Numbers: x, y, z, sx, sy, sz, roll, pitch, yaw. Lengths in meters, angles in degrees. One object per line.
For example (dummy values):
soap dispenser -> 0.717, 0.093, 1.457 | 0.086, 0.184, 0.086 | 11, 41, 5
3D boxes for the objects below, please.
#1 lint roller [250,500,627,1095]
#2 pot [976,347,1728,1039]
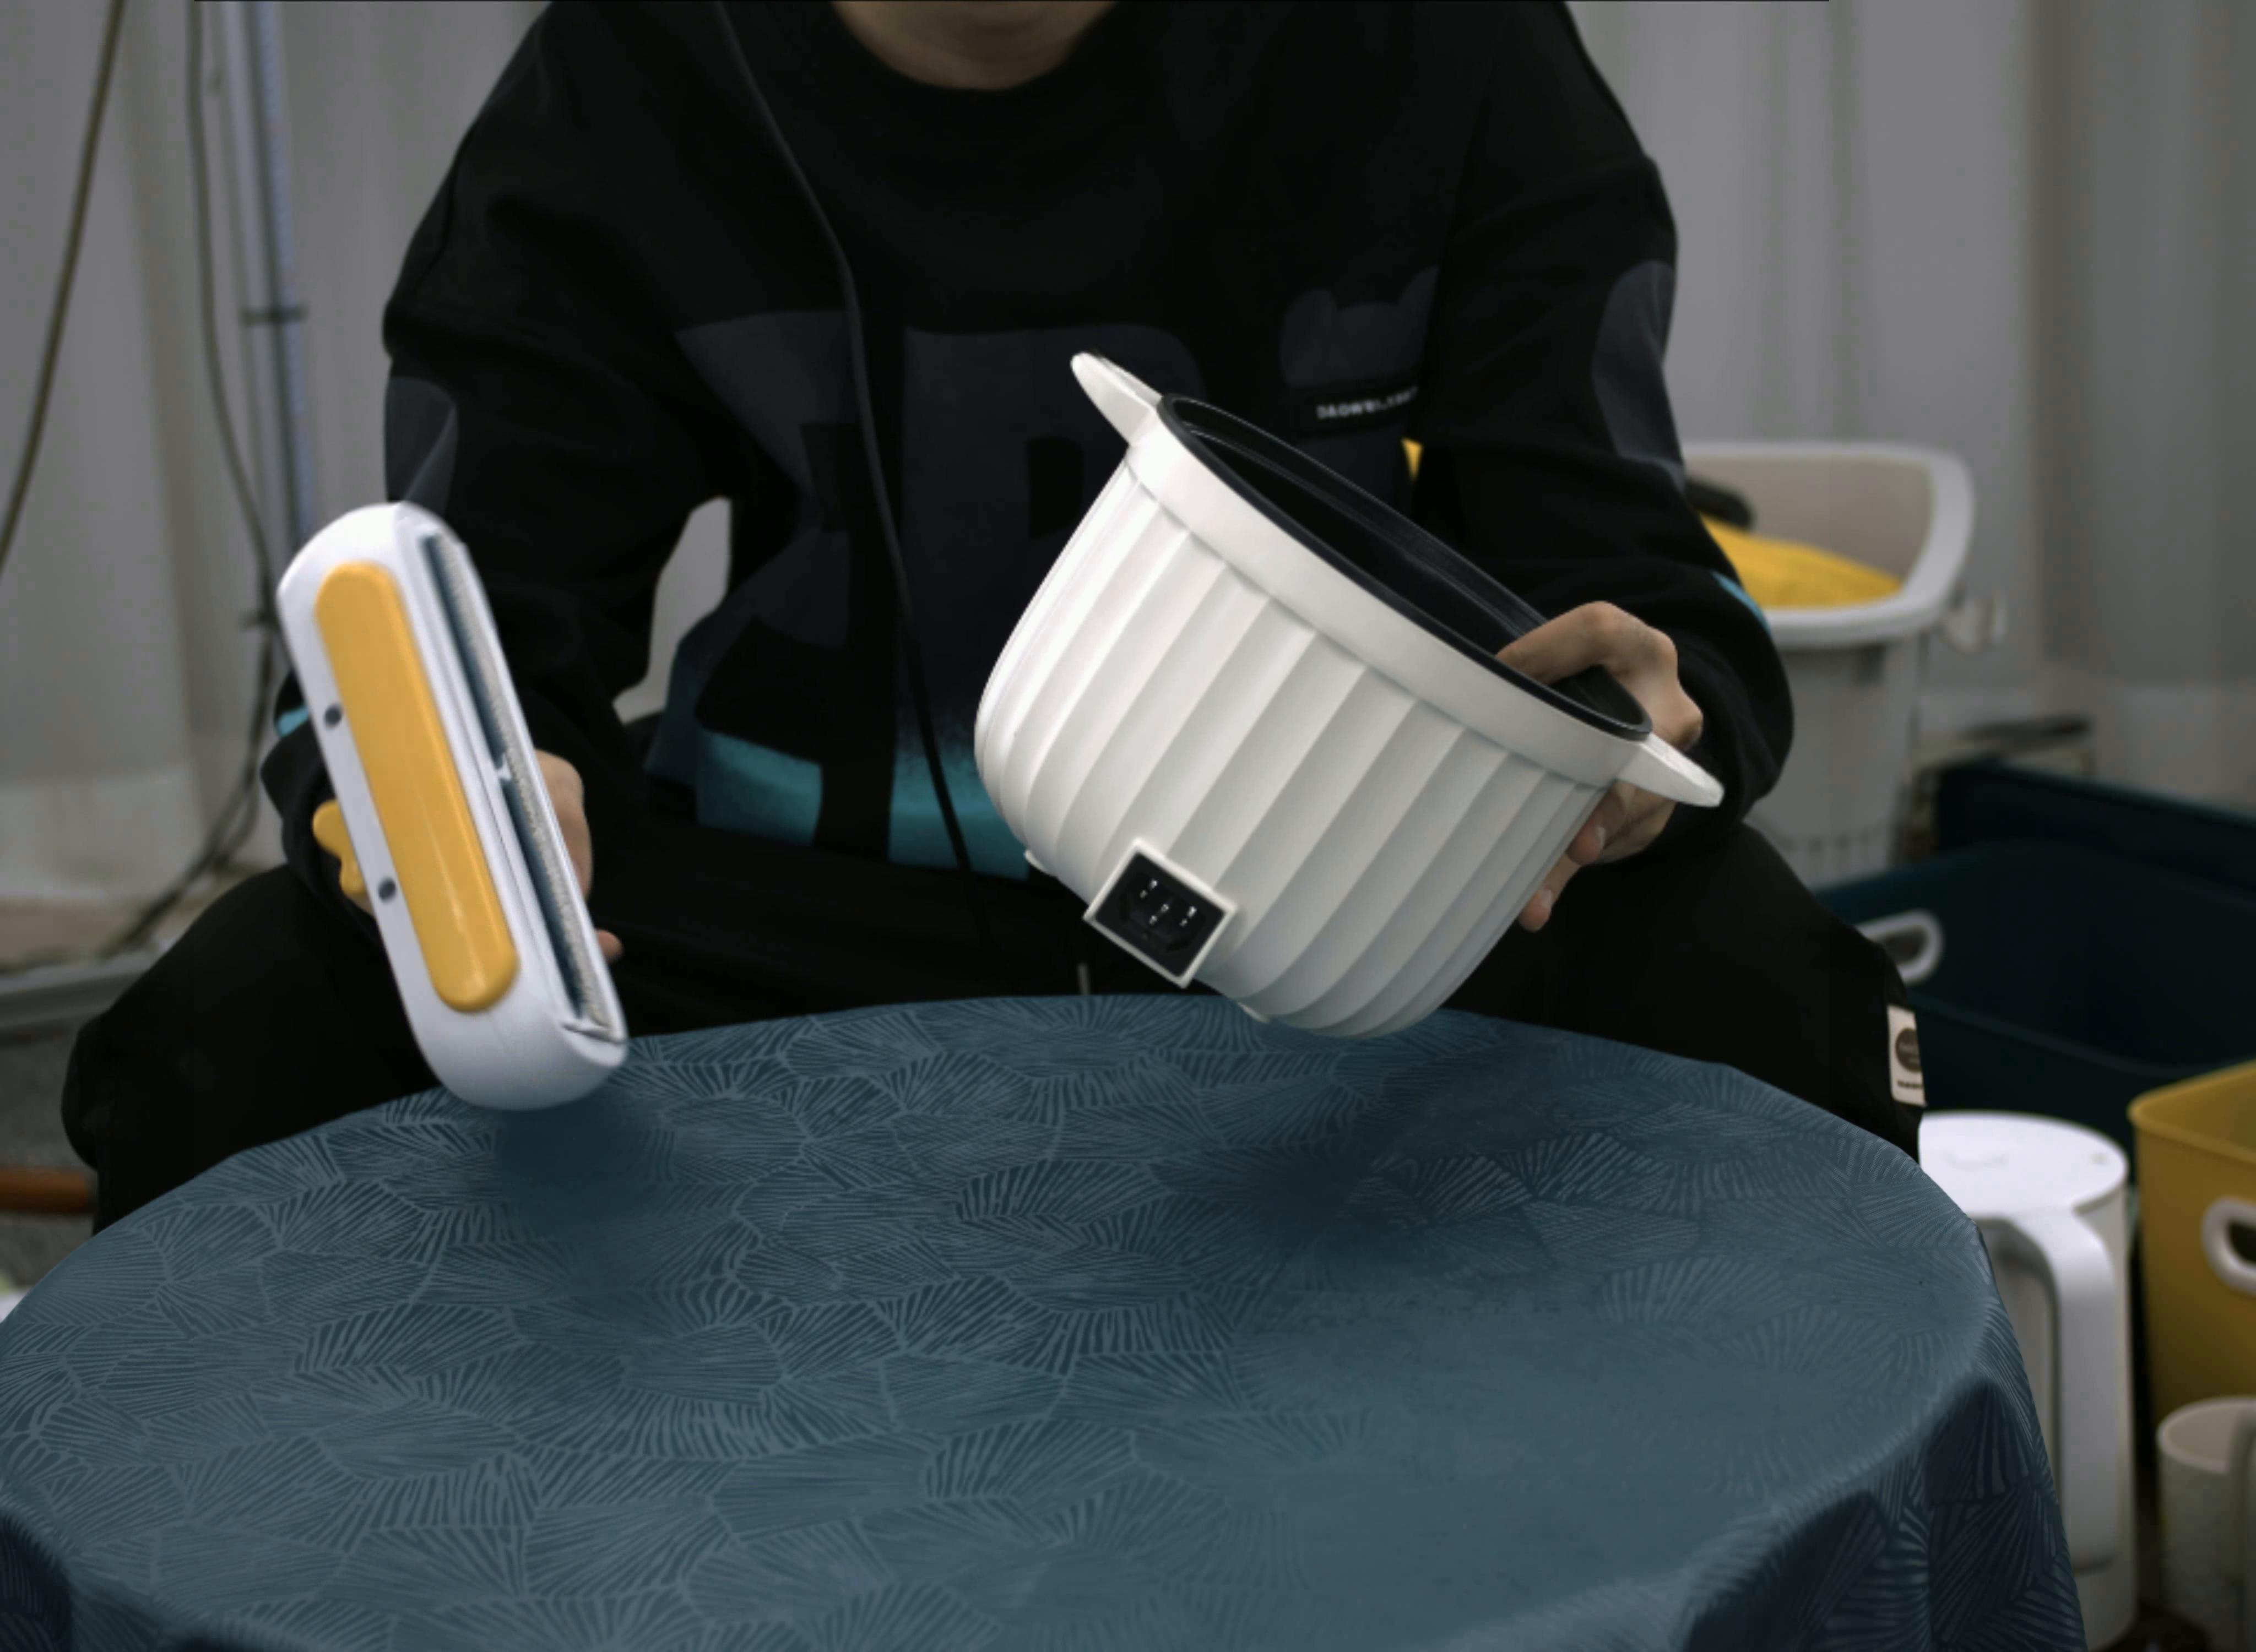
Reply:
lint roller -> -0.199, 0.009, 1.705 | 0.074, 0.195, 0.190 | -29, -20, 5
pot -> 0.049, -0.029, 1.682 | 0.240, 0.142, 0.191 | 36, 13, 2
